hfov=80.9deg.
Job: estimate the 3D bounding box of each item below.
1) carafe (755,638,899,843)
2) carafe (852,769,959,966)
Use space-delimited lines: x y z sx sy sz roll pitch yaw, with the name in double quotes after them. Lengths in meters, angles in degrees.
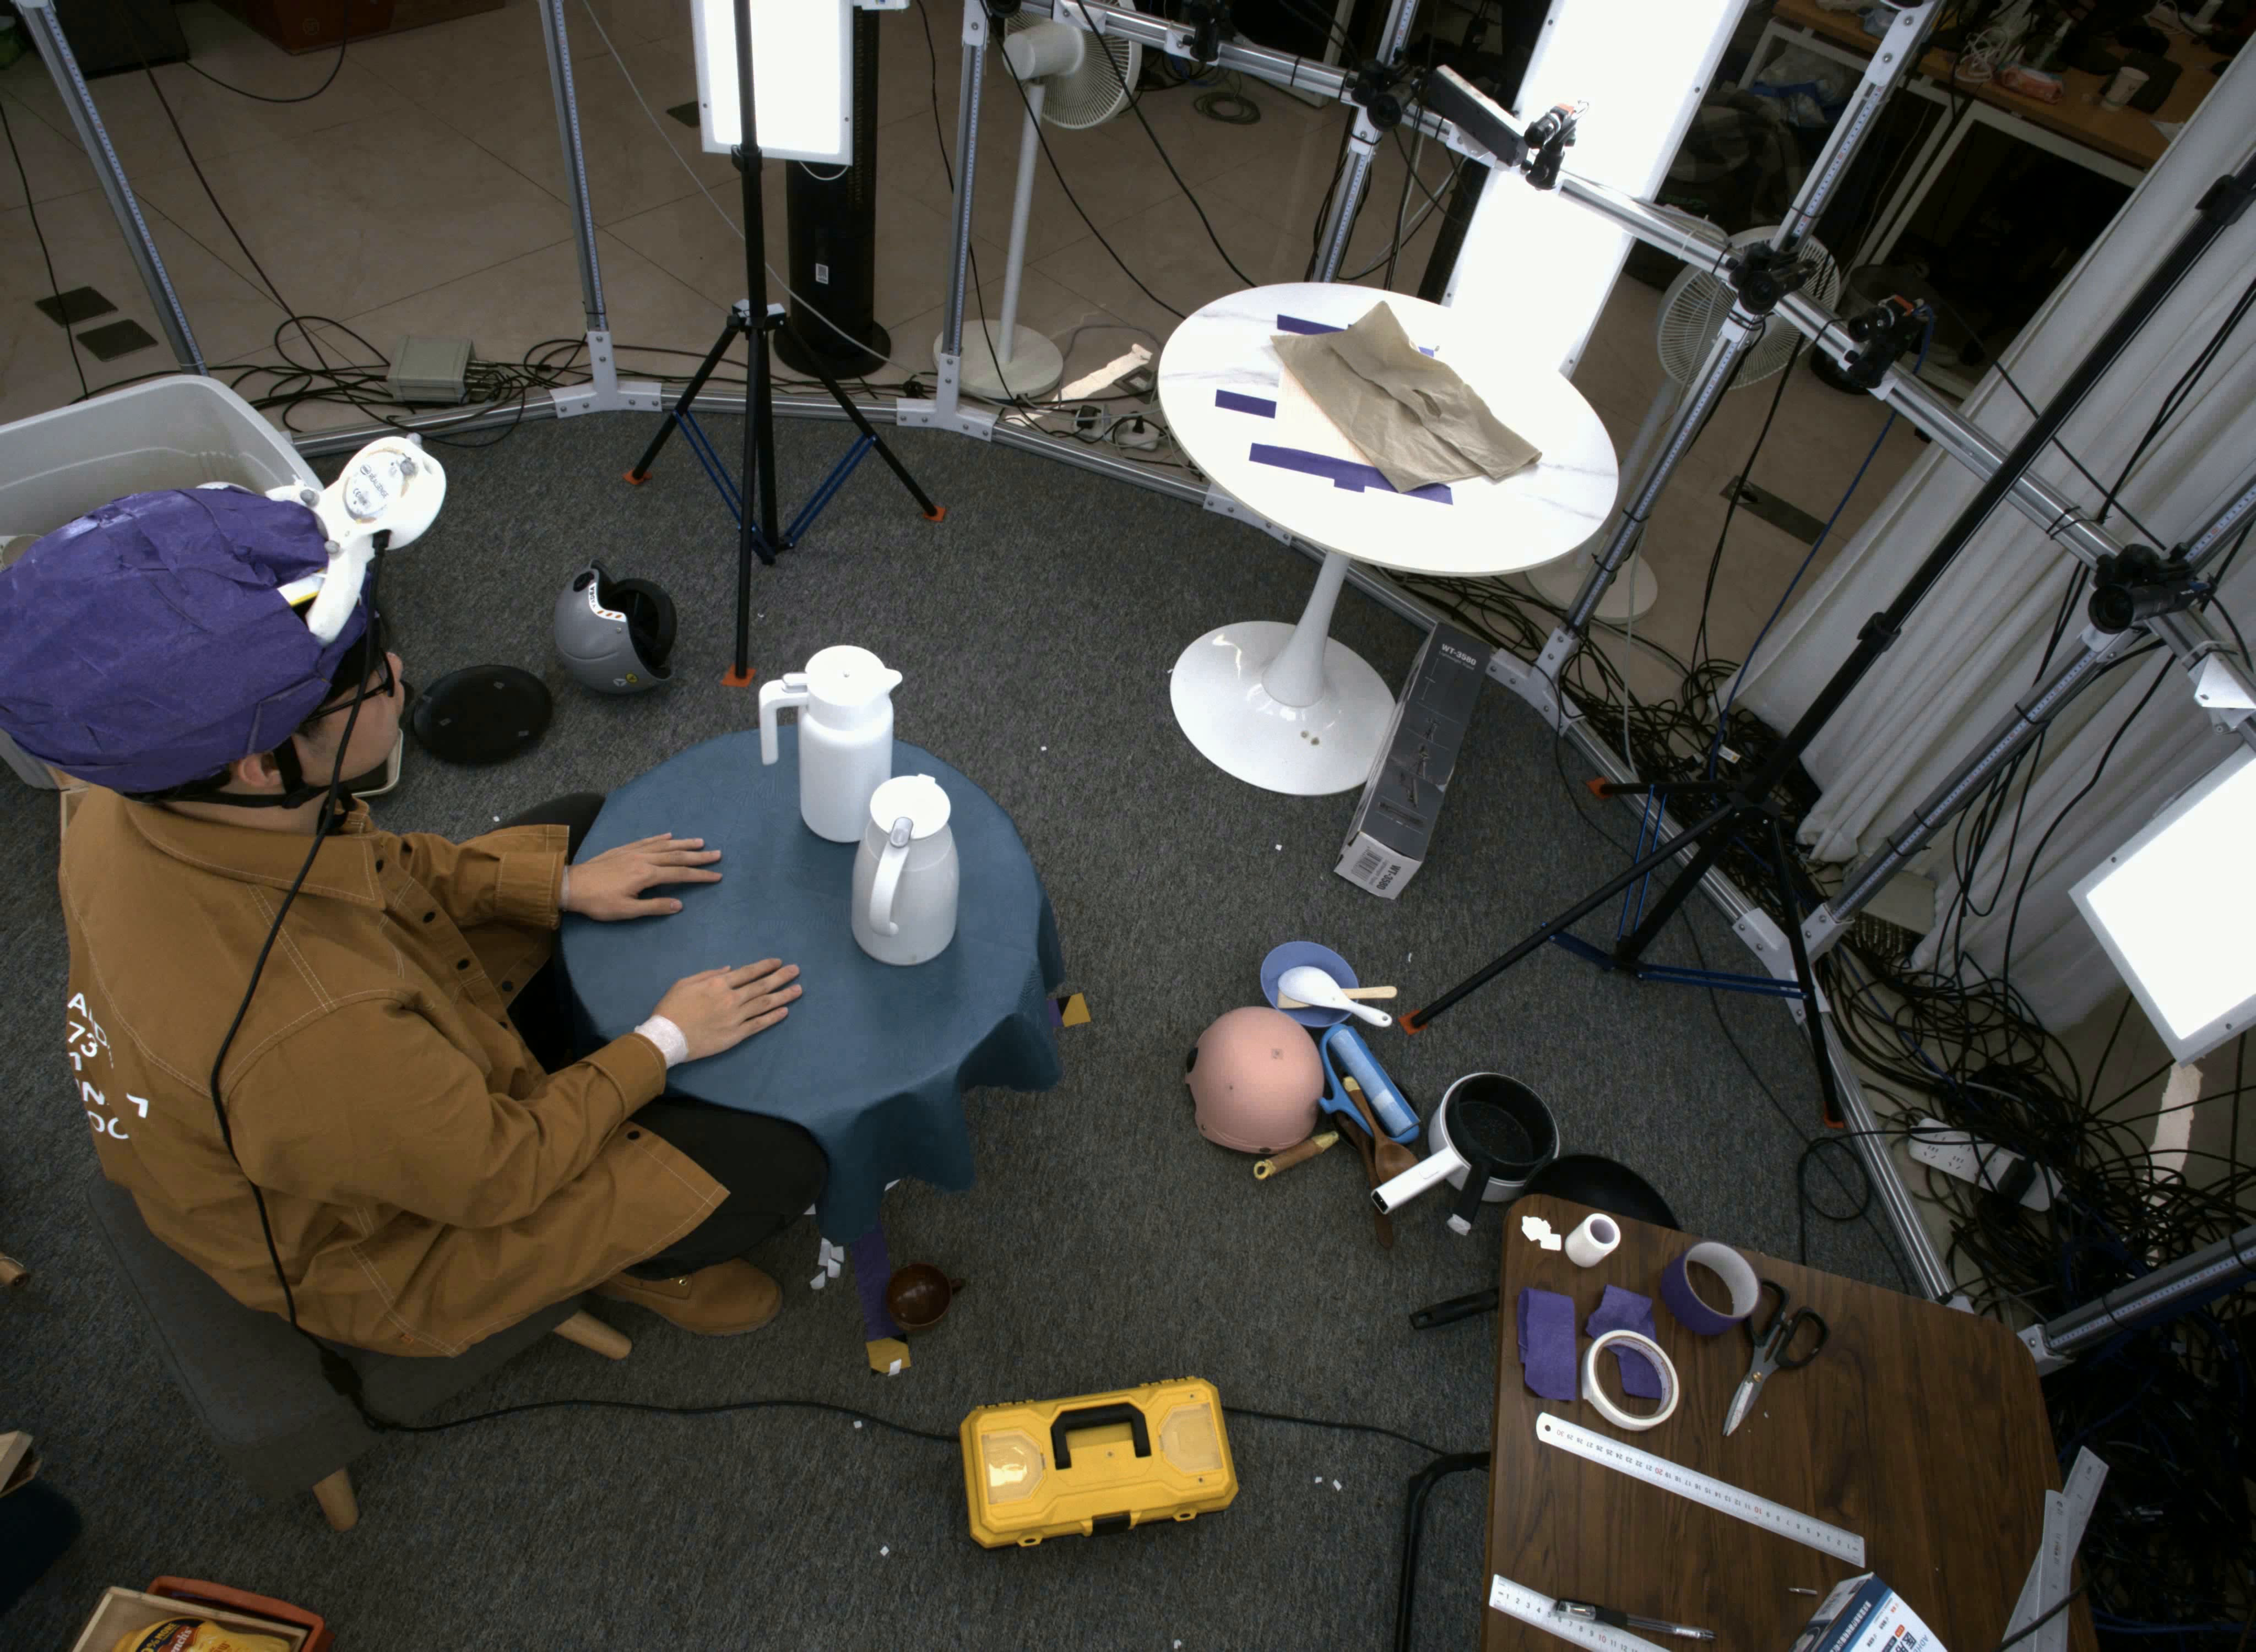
-0.377 -0.102 1.637 0.173 0.274 0.121 -8 56 -17 "carafe"
-0.271 0.059 1.556 0.131 0.254 0.165 15 52 0 "carafe"
